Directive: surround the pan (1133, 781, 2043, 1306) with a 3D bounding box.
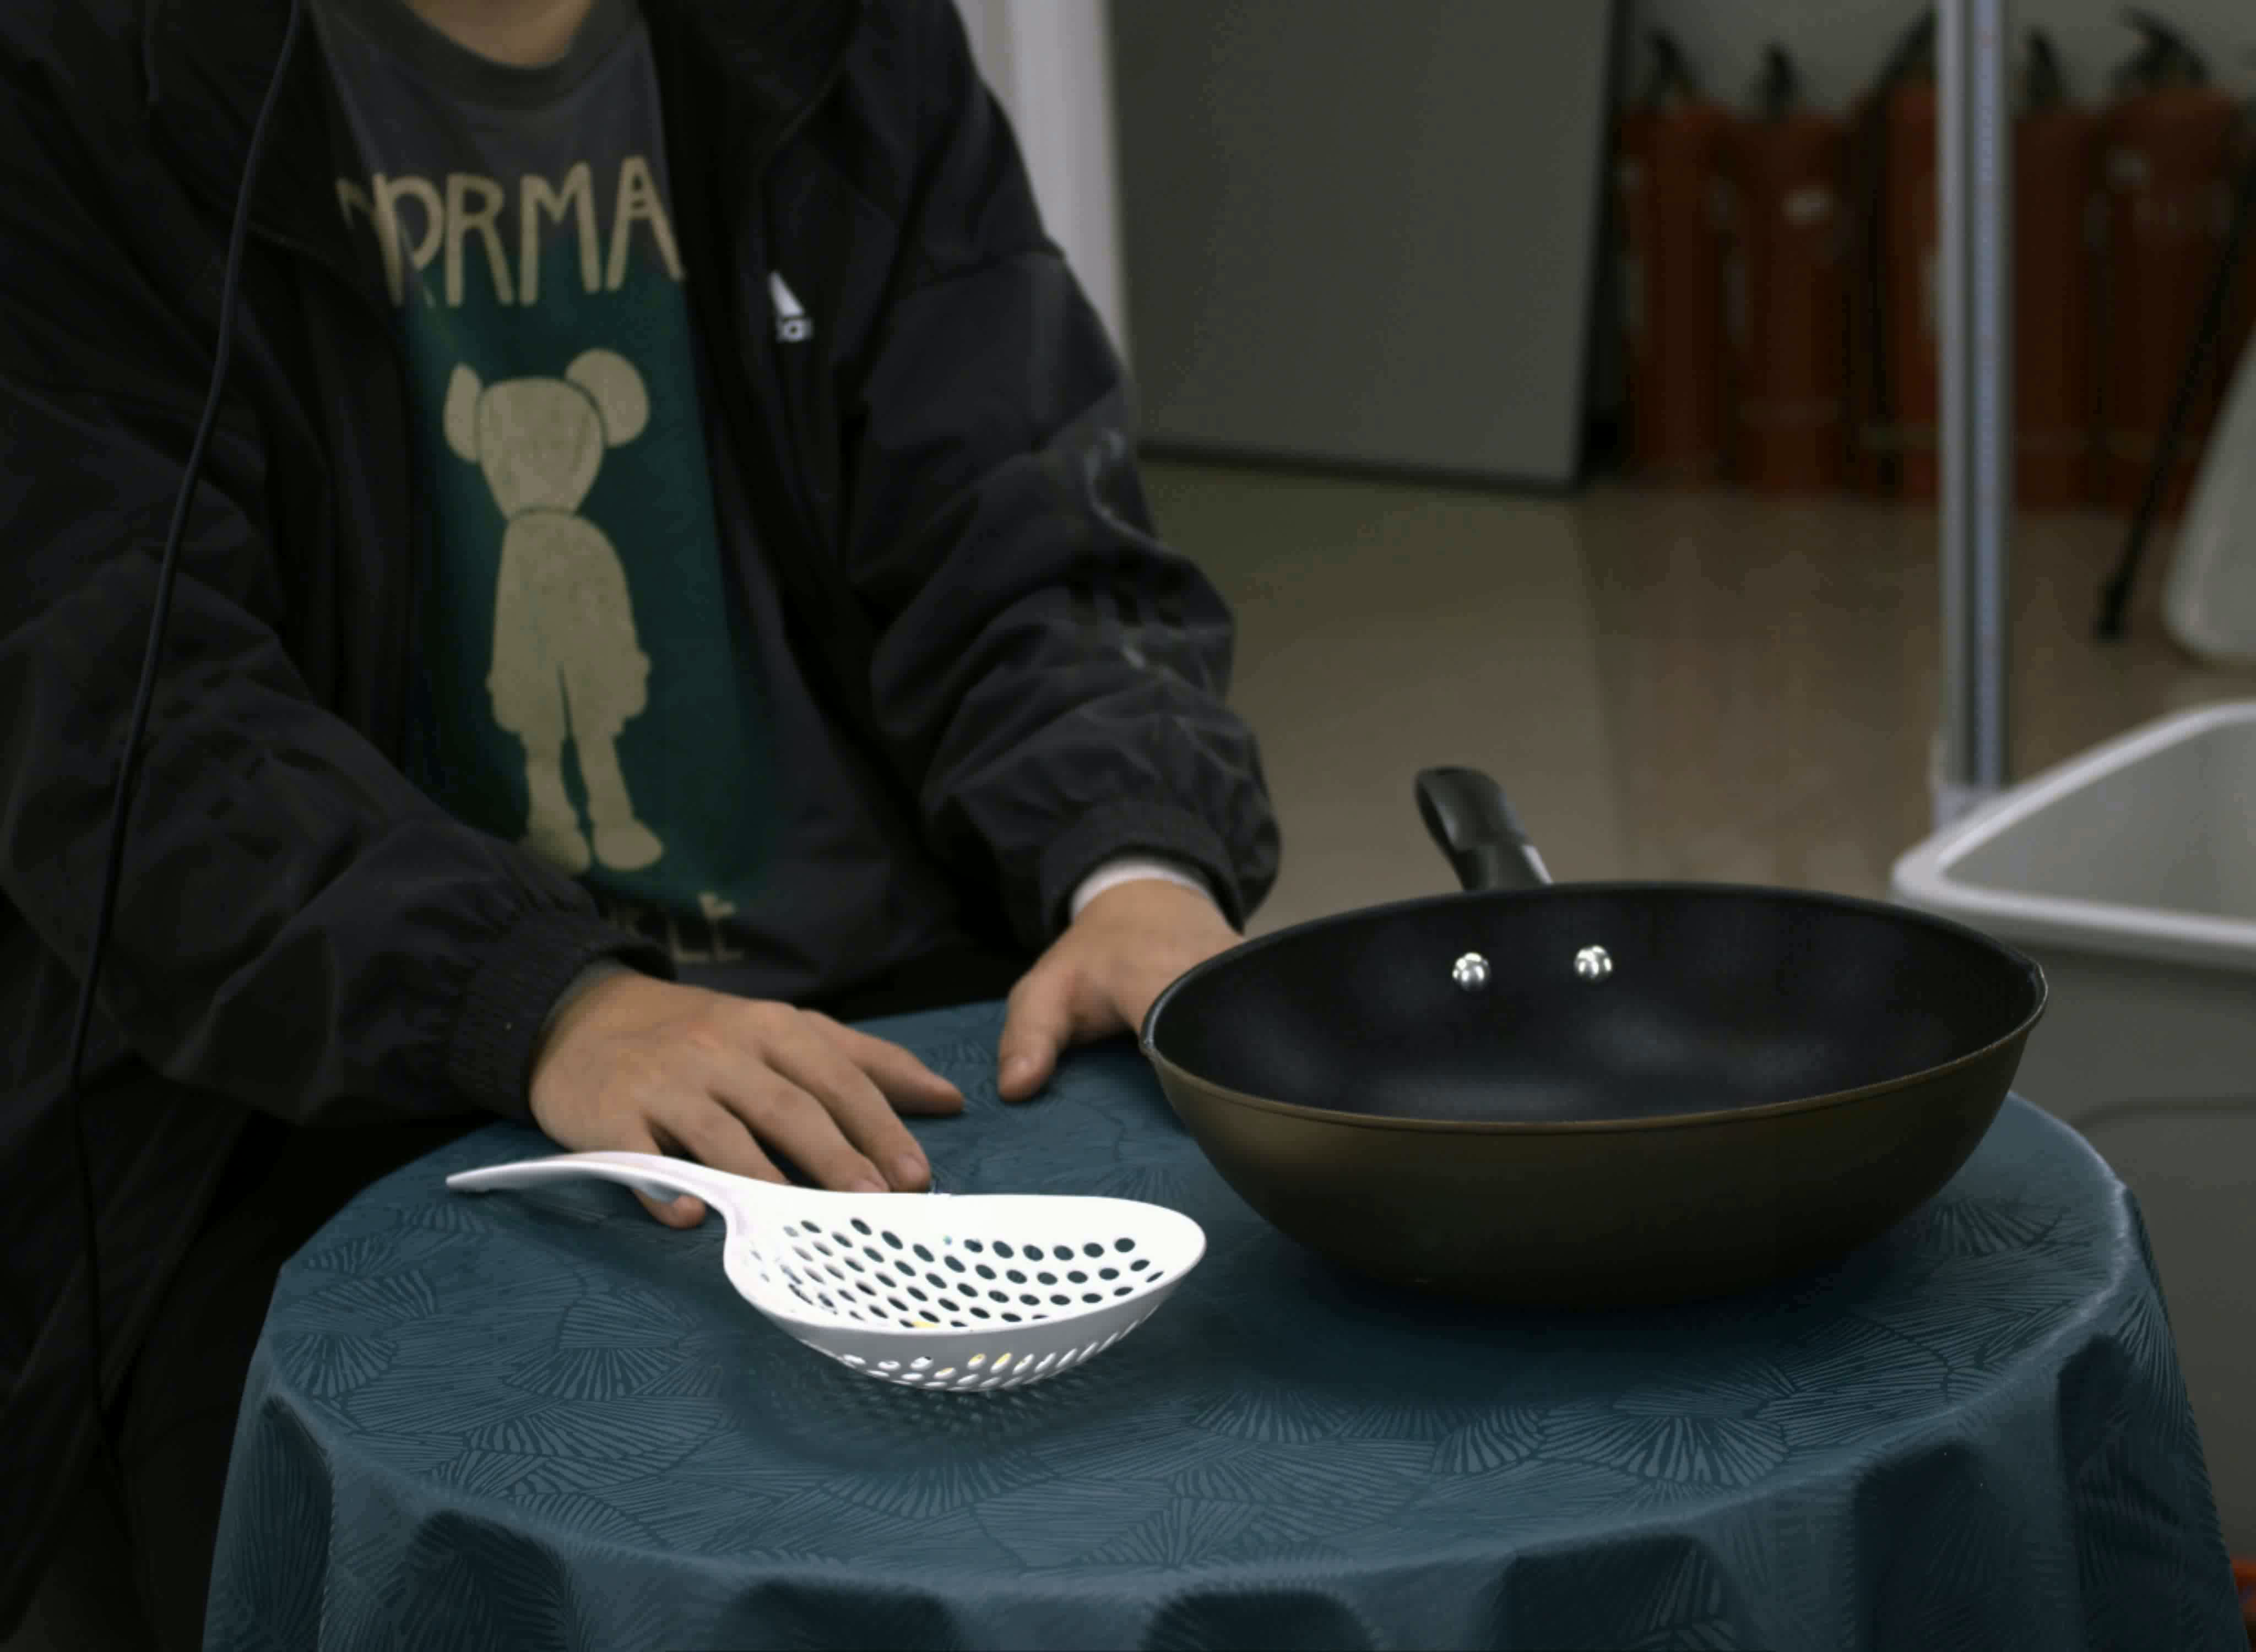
[{"bbox_3d":[0.138,0.069,1.773,0.284,0.088,0.465,-5,12,-3],"label":"pan"}]

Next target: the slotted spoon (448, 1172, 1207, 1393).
[{"bbox_3d":[-0.112,0.130,1.687,0.134,0.051,0.351,-17,18,-36],"label":"slotted spoon"}]
